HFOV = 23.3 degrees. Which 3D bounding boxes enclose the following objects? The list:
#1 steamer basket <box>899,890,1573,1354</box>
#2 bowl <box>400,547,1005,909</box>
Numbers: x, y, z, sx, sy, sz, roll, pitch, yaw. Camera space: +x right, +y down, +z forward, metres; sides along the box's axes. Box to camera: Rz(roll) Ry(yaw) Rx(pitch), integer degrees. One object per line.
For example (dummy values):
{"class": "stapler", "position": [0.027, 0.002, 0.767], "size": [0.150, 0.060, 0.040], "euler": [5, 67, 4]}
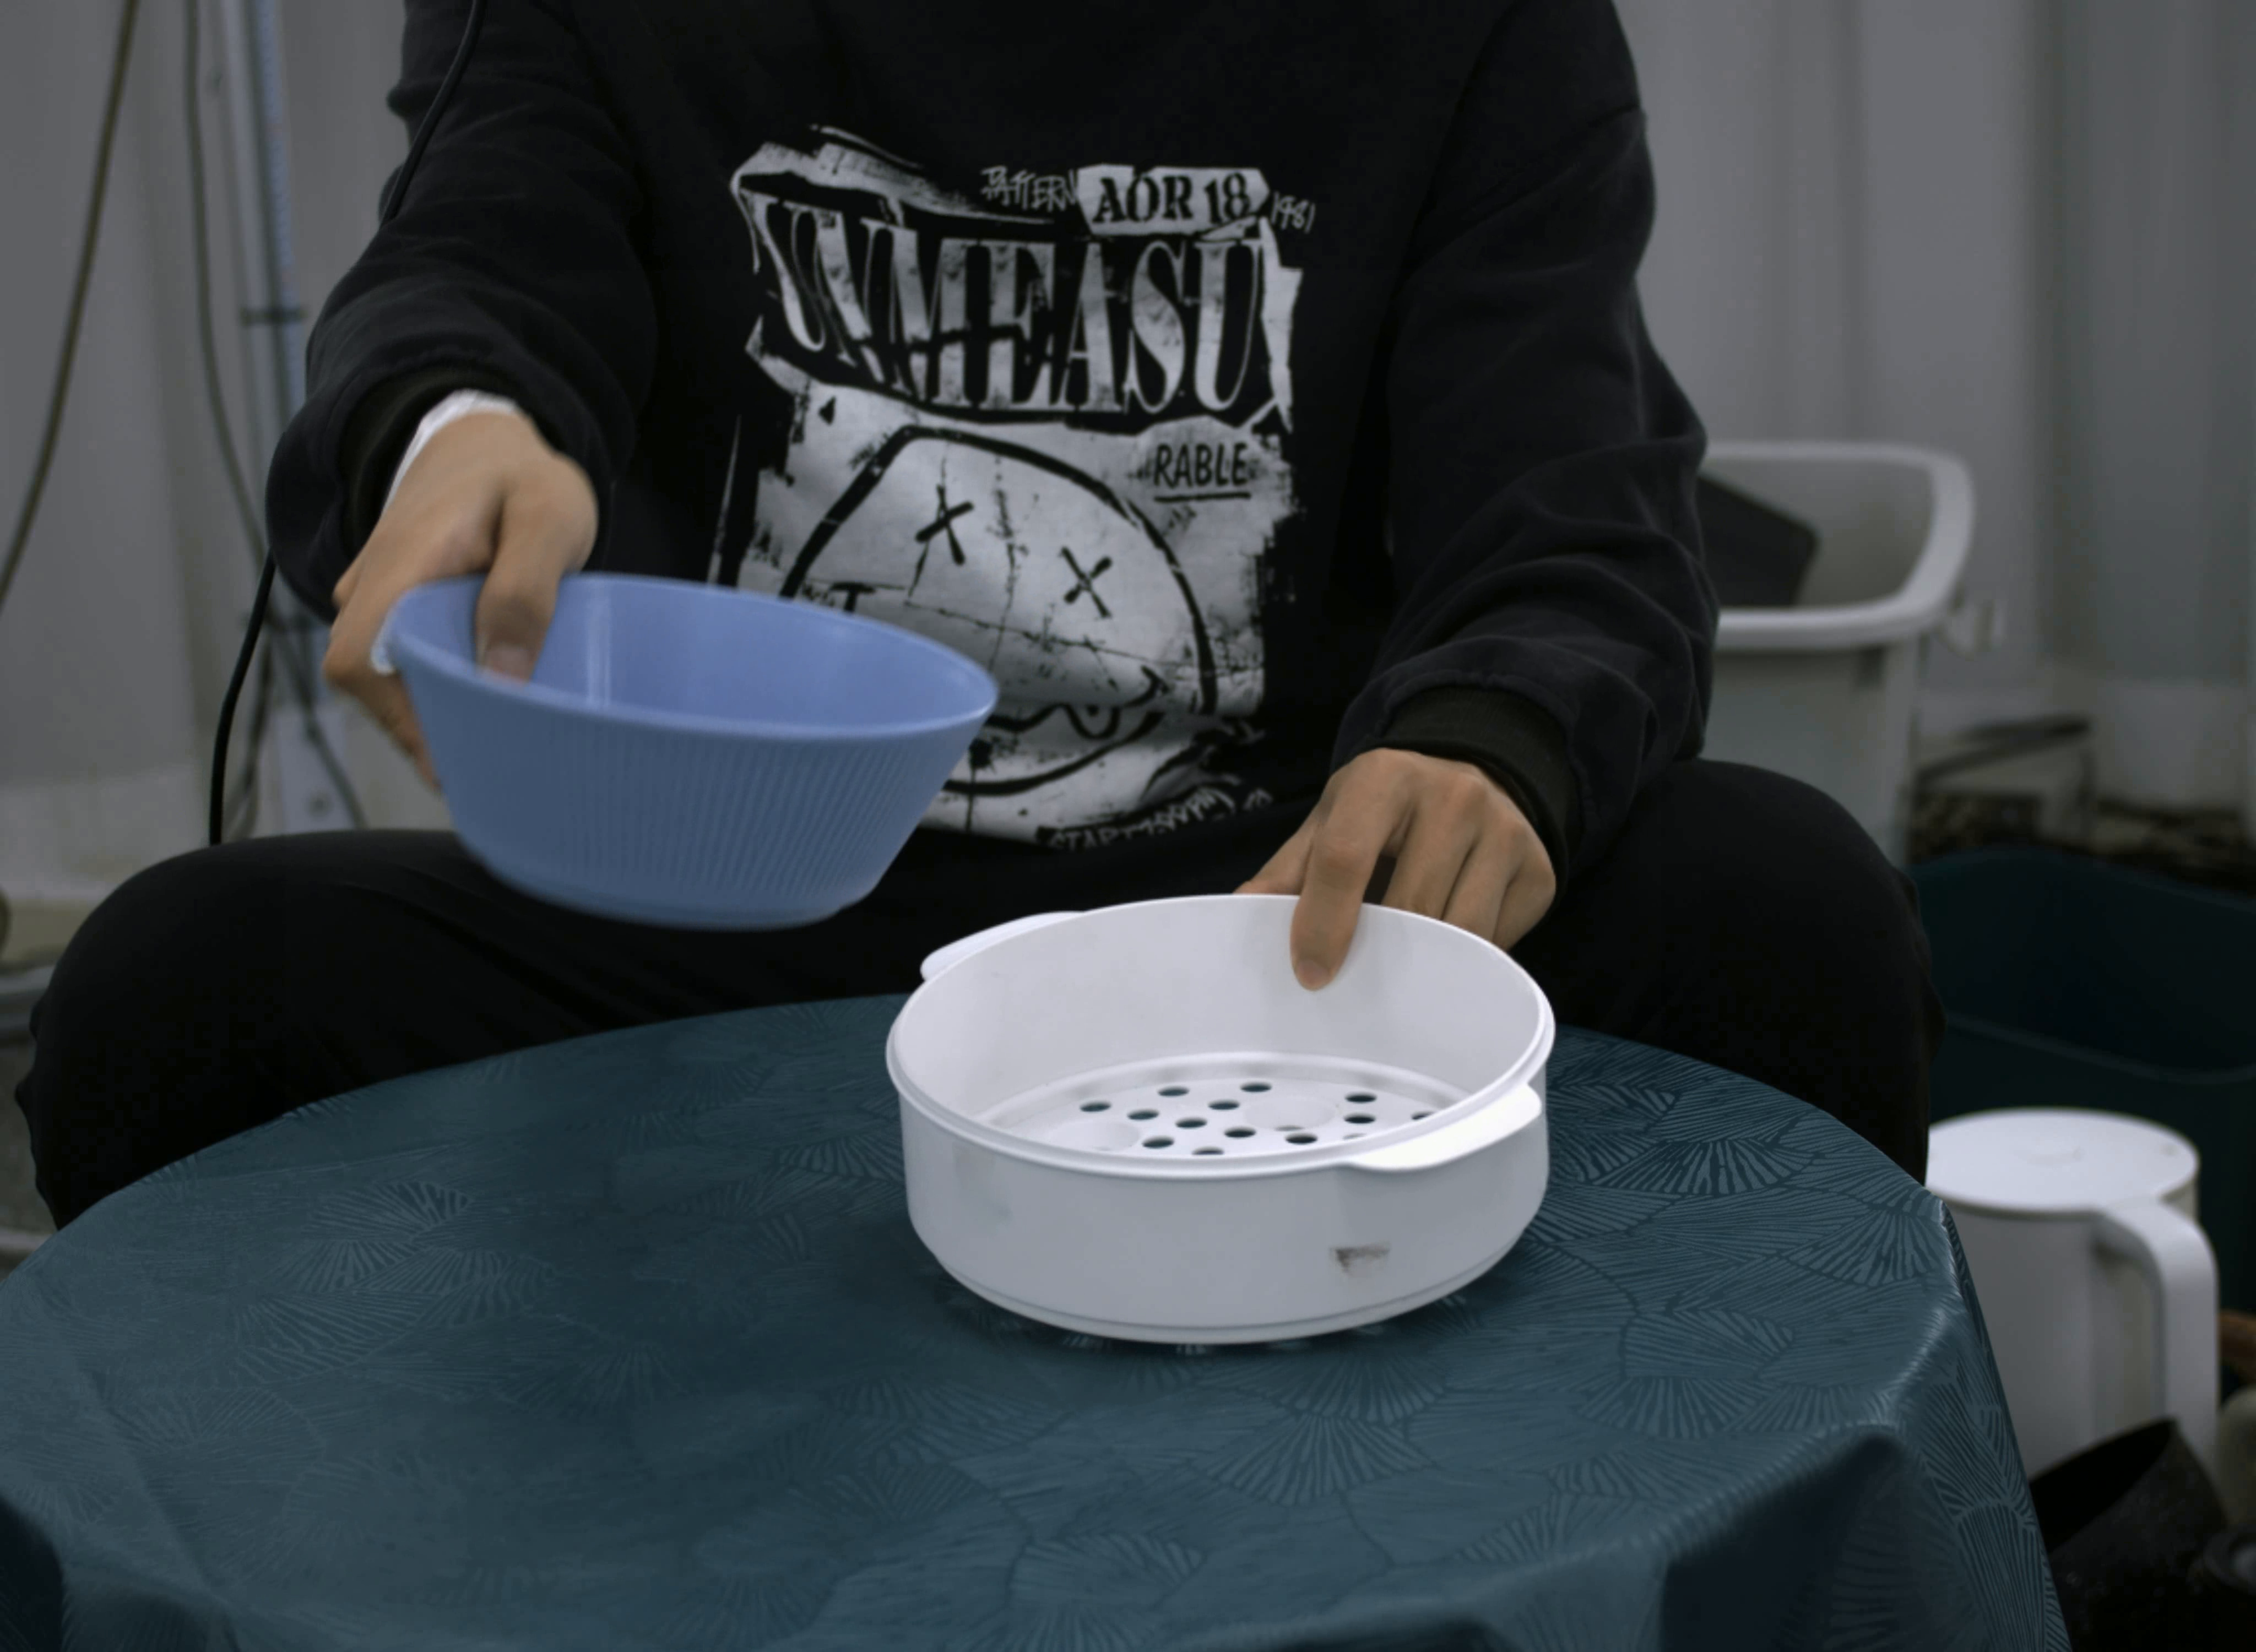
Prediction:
{"class": "steamer basket", "position": [0.032, 0.088, 1.639], "size": [0.201, 0.069, 0.232], "euler": [-20, 29, -37]}
{"class": "bowl", "position": [-0.126, -0.025, 1.572], "size": [0.175, 0.070, 0.177], "euler": [9, 14, -3]}
